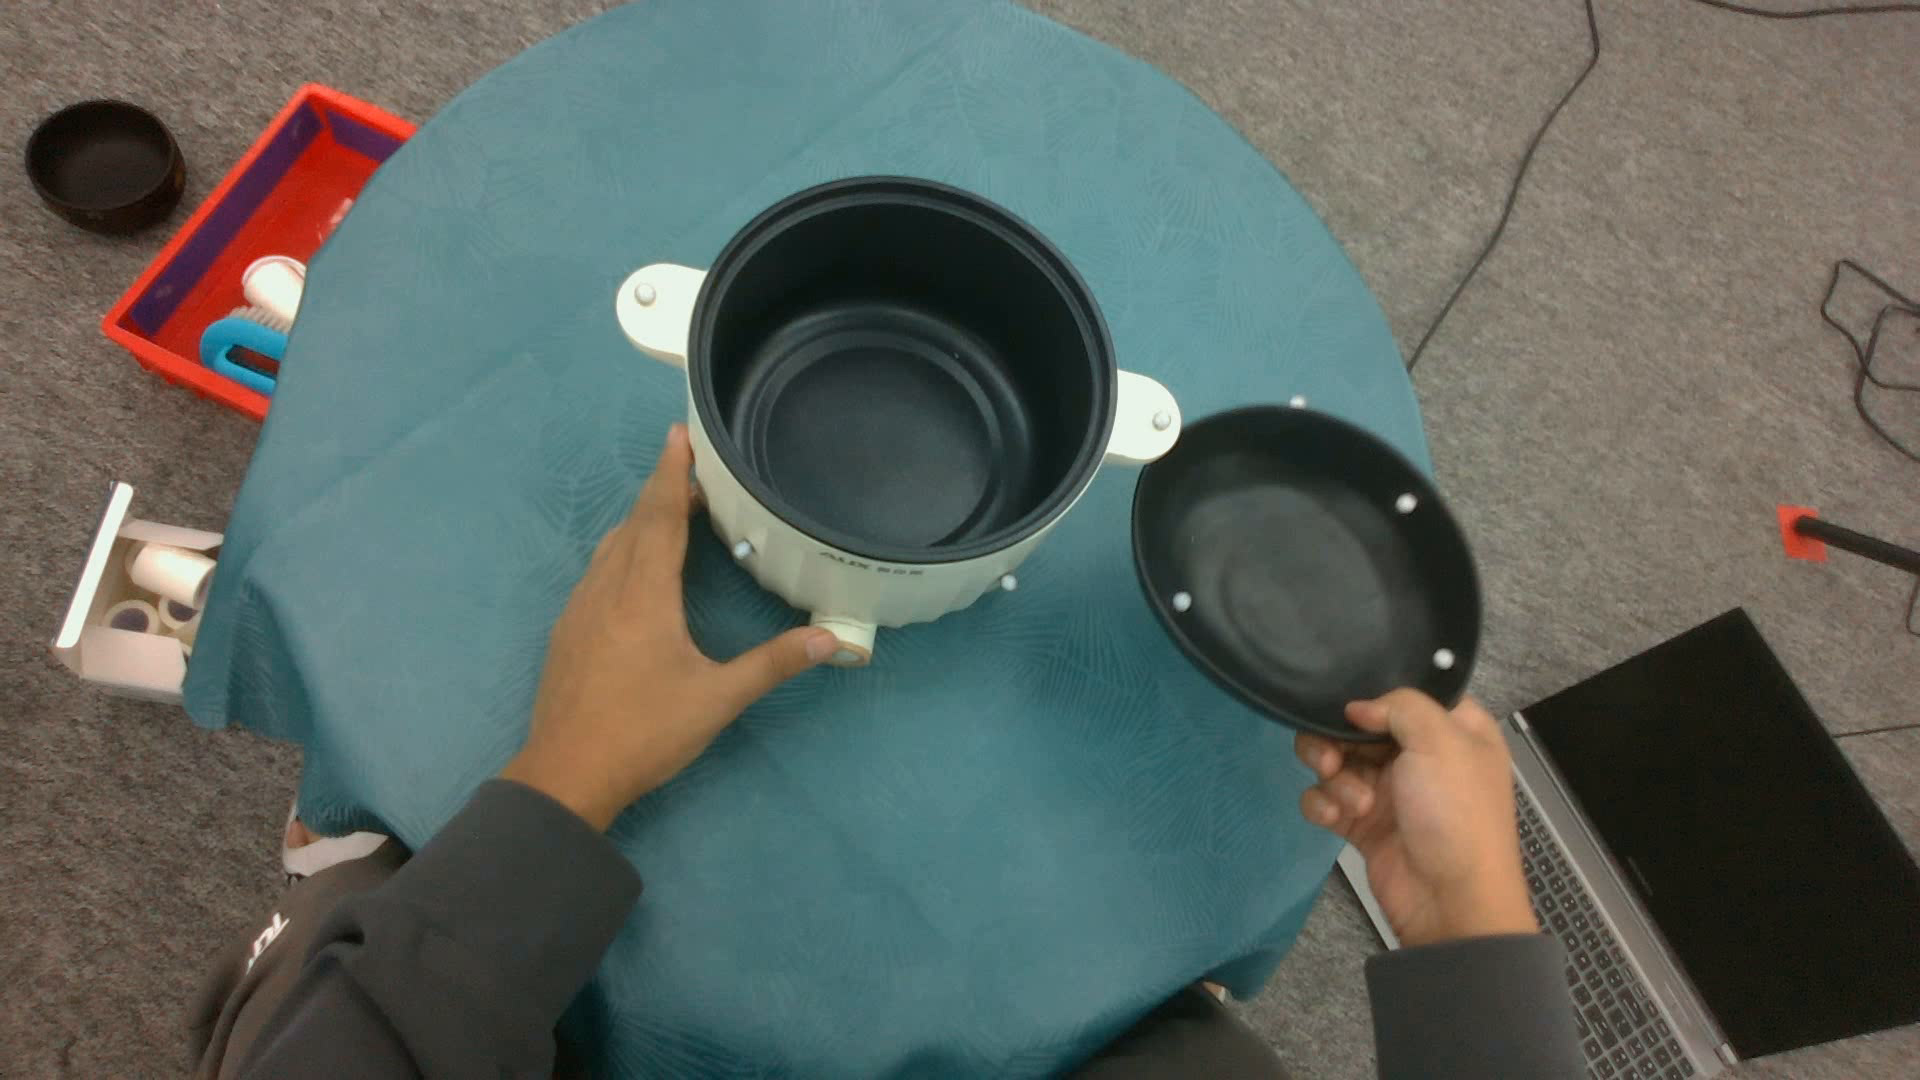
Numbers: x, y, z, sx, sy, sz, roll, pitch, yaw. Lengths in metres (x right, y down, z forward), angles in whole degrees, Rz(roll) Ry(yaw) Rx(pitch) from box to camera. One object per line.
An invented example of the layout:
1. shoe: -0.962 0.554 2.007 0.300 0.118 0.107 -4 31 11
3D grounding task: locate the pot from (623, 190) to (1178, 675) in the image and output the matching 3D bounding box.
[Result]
1. pot: -0.032 -0.044 0.644 0.240 0.142 0.191 8 64 -6

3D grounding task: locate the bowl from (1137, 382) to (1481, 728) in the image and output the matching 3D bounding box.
1. bowl: 0.153 0.011 0.624 0.137 0.066 0.170 -43 79 -14
